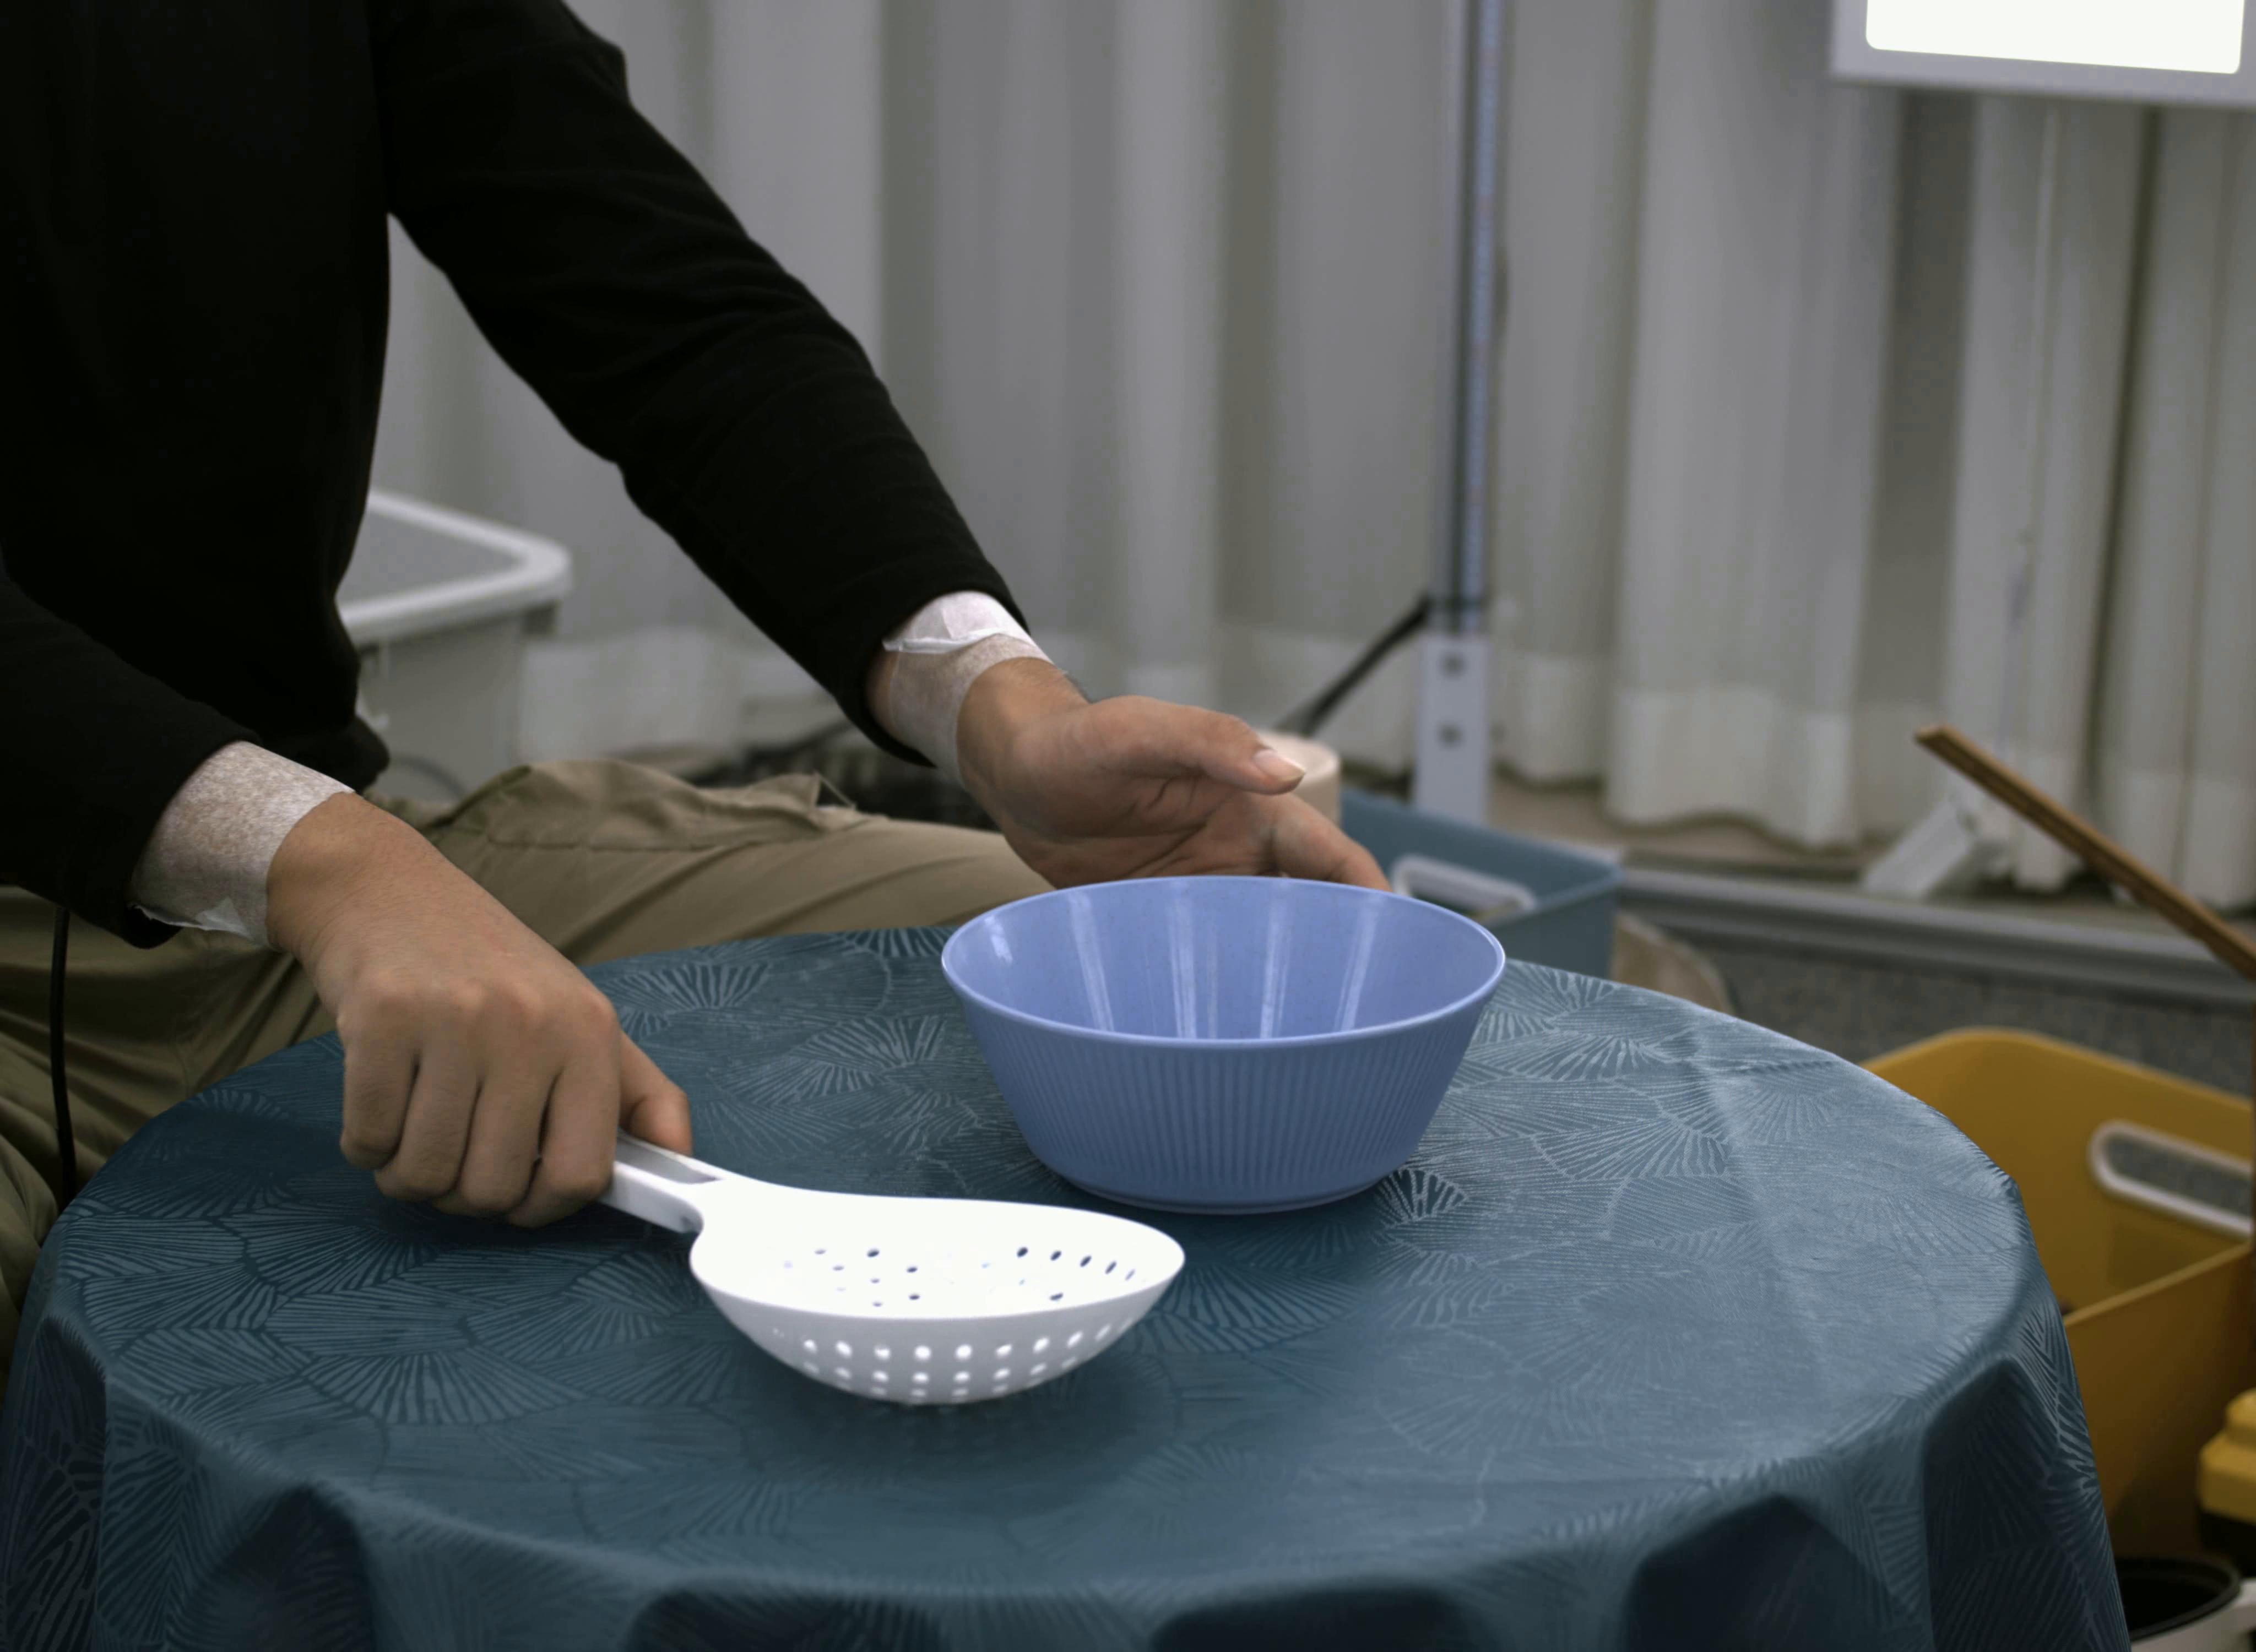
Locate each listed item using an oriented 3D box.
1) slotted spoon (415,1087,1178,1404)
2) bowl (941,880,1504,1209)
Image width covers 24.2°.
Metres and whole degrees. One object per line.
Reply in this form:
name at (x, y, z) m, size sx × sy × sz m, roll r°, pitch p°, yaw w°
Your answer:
slotted spoon at (-0.116, 0.112, 1.533) m, size 0.137 × 0.046 × 0.345 m, roll -9°, pitch 17°, yaw -35°
bowl at (0.029, 0.070, 1.642) m, size 0.175 × 0.071 × 0.175 m, roll 0°, pitch 15°, yaw 0°
